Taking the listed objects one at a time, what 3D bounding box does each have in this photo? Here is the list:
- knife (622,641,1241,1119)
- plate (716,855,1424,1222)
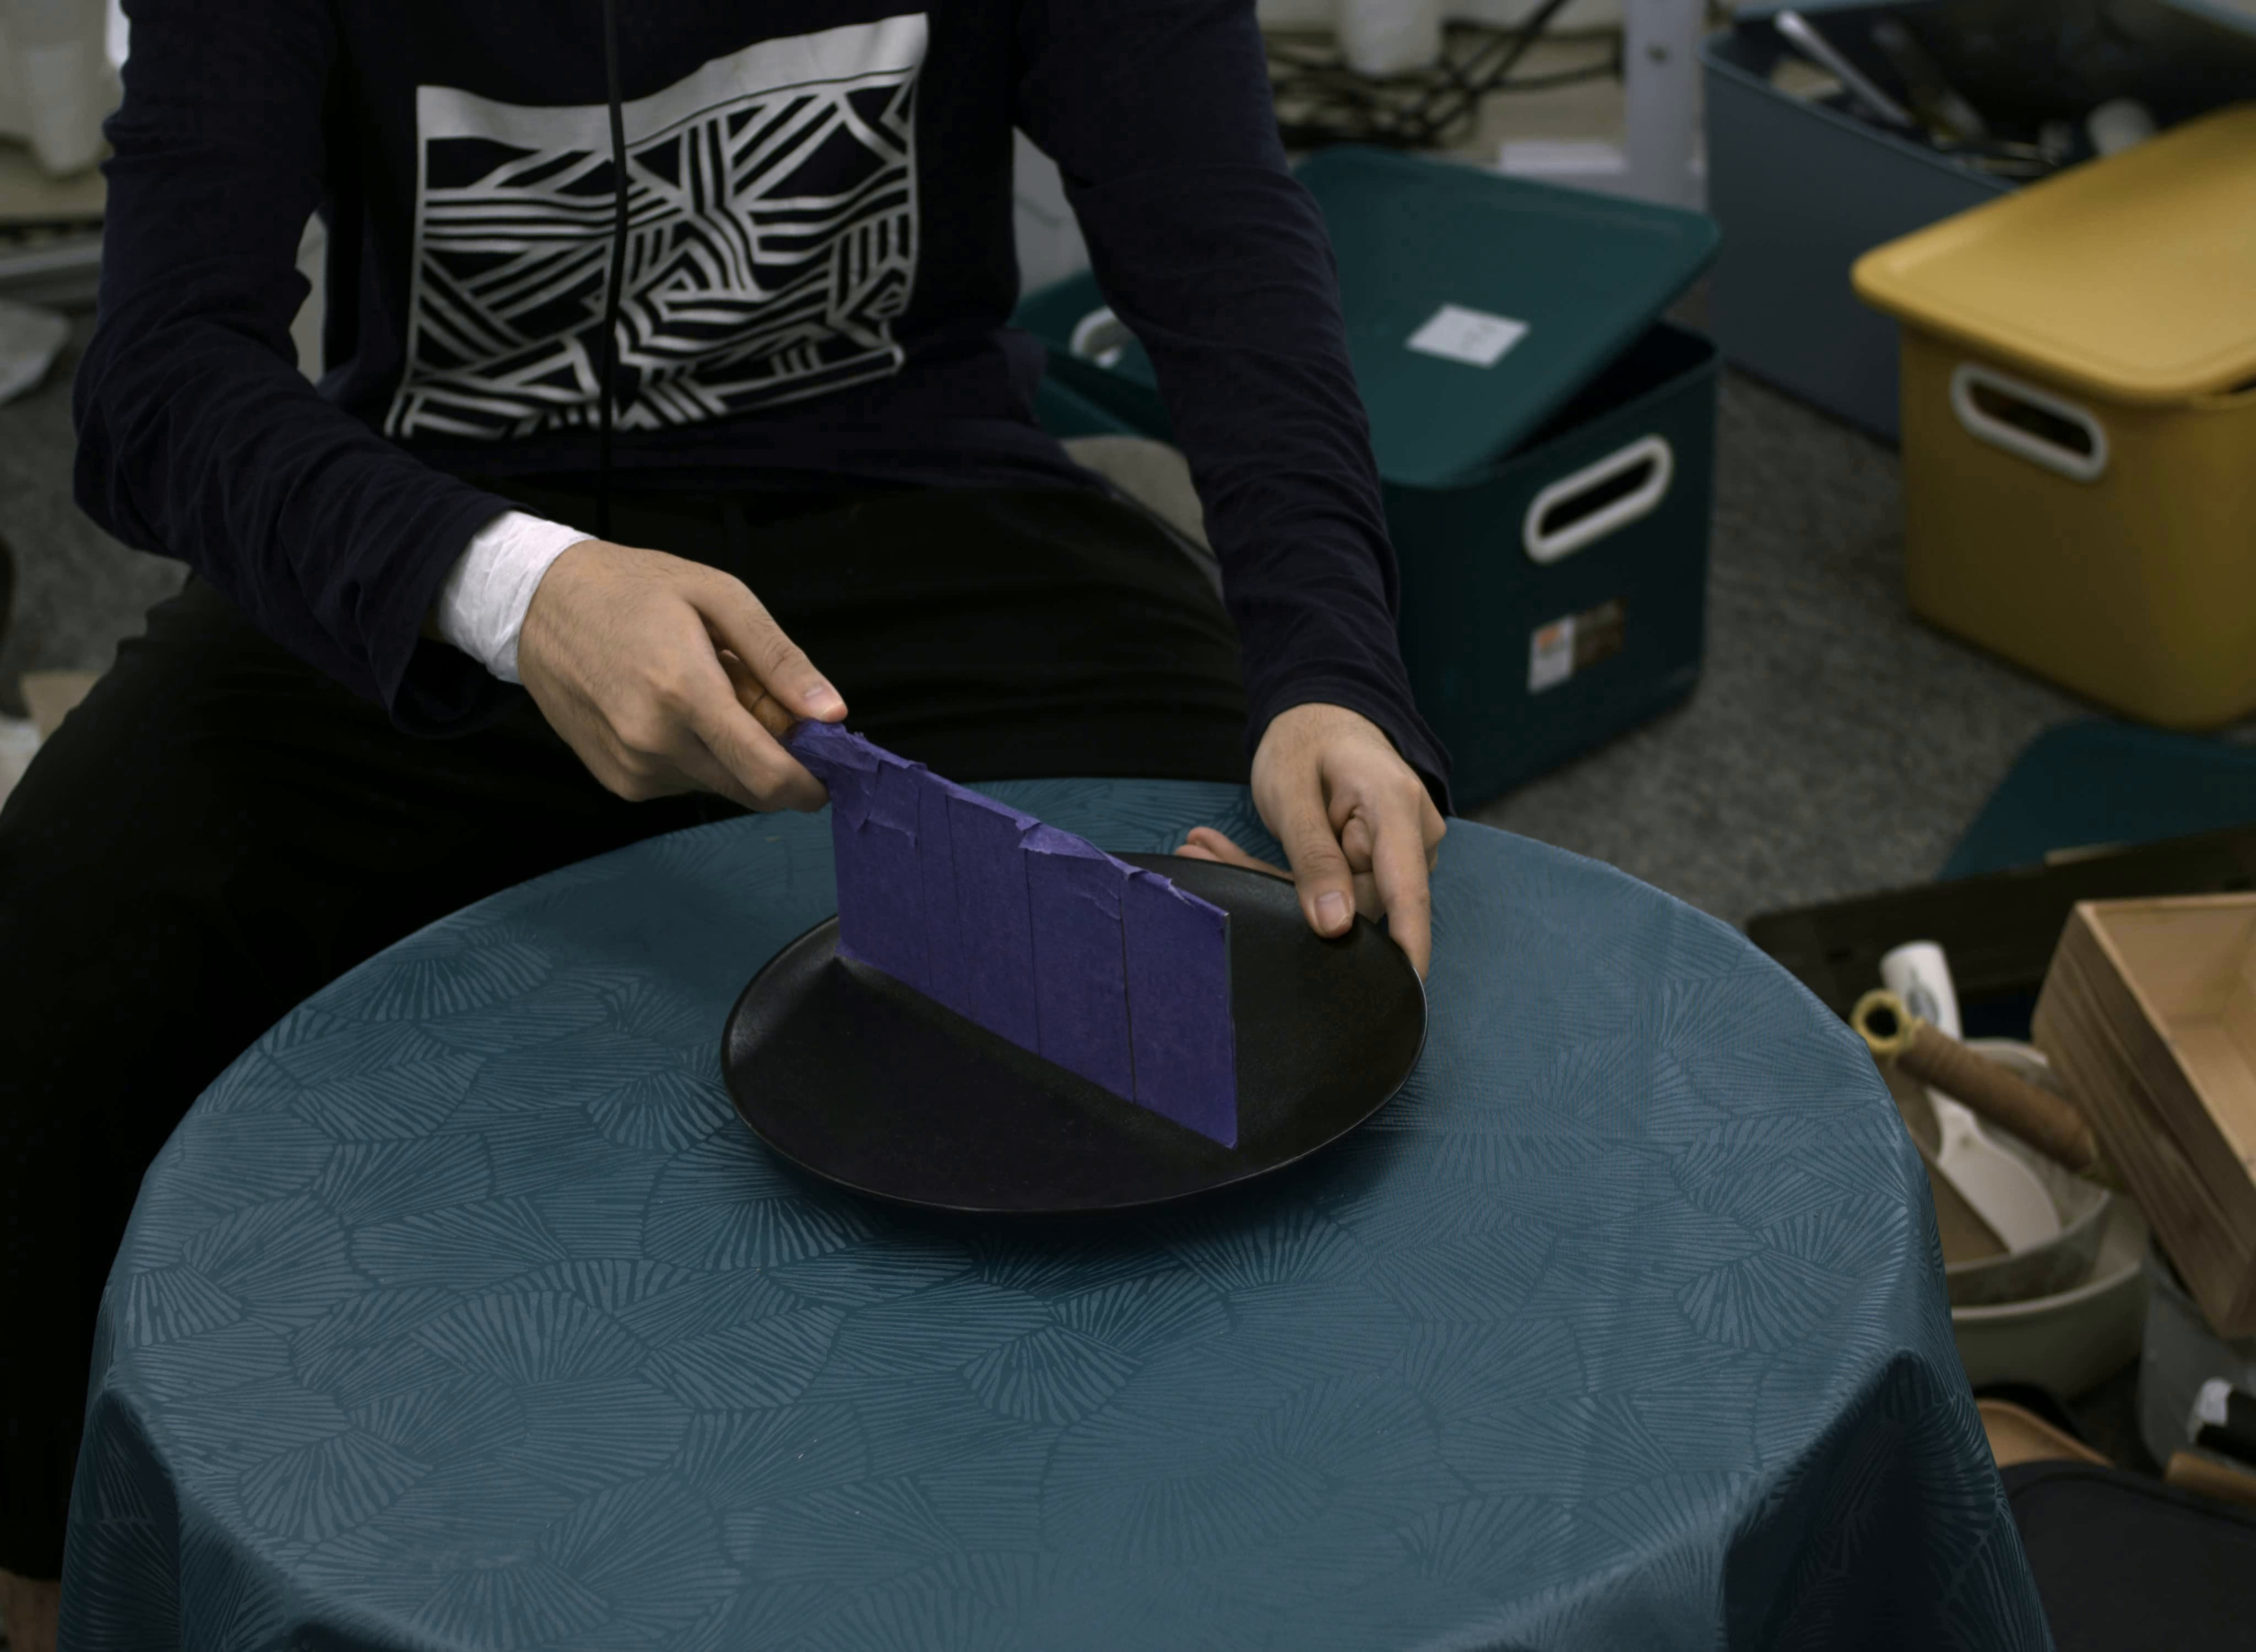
[{"bbox_3d":[-0.071,0.020,1.927,0.032,0.103,0.315,-18,29,-35],"label":"knife"},{"bbox_3d":[-0.020,0.076,1.924,0.243,0.023,0.248,-2,28,2],"label":"plate"}]
